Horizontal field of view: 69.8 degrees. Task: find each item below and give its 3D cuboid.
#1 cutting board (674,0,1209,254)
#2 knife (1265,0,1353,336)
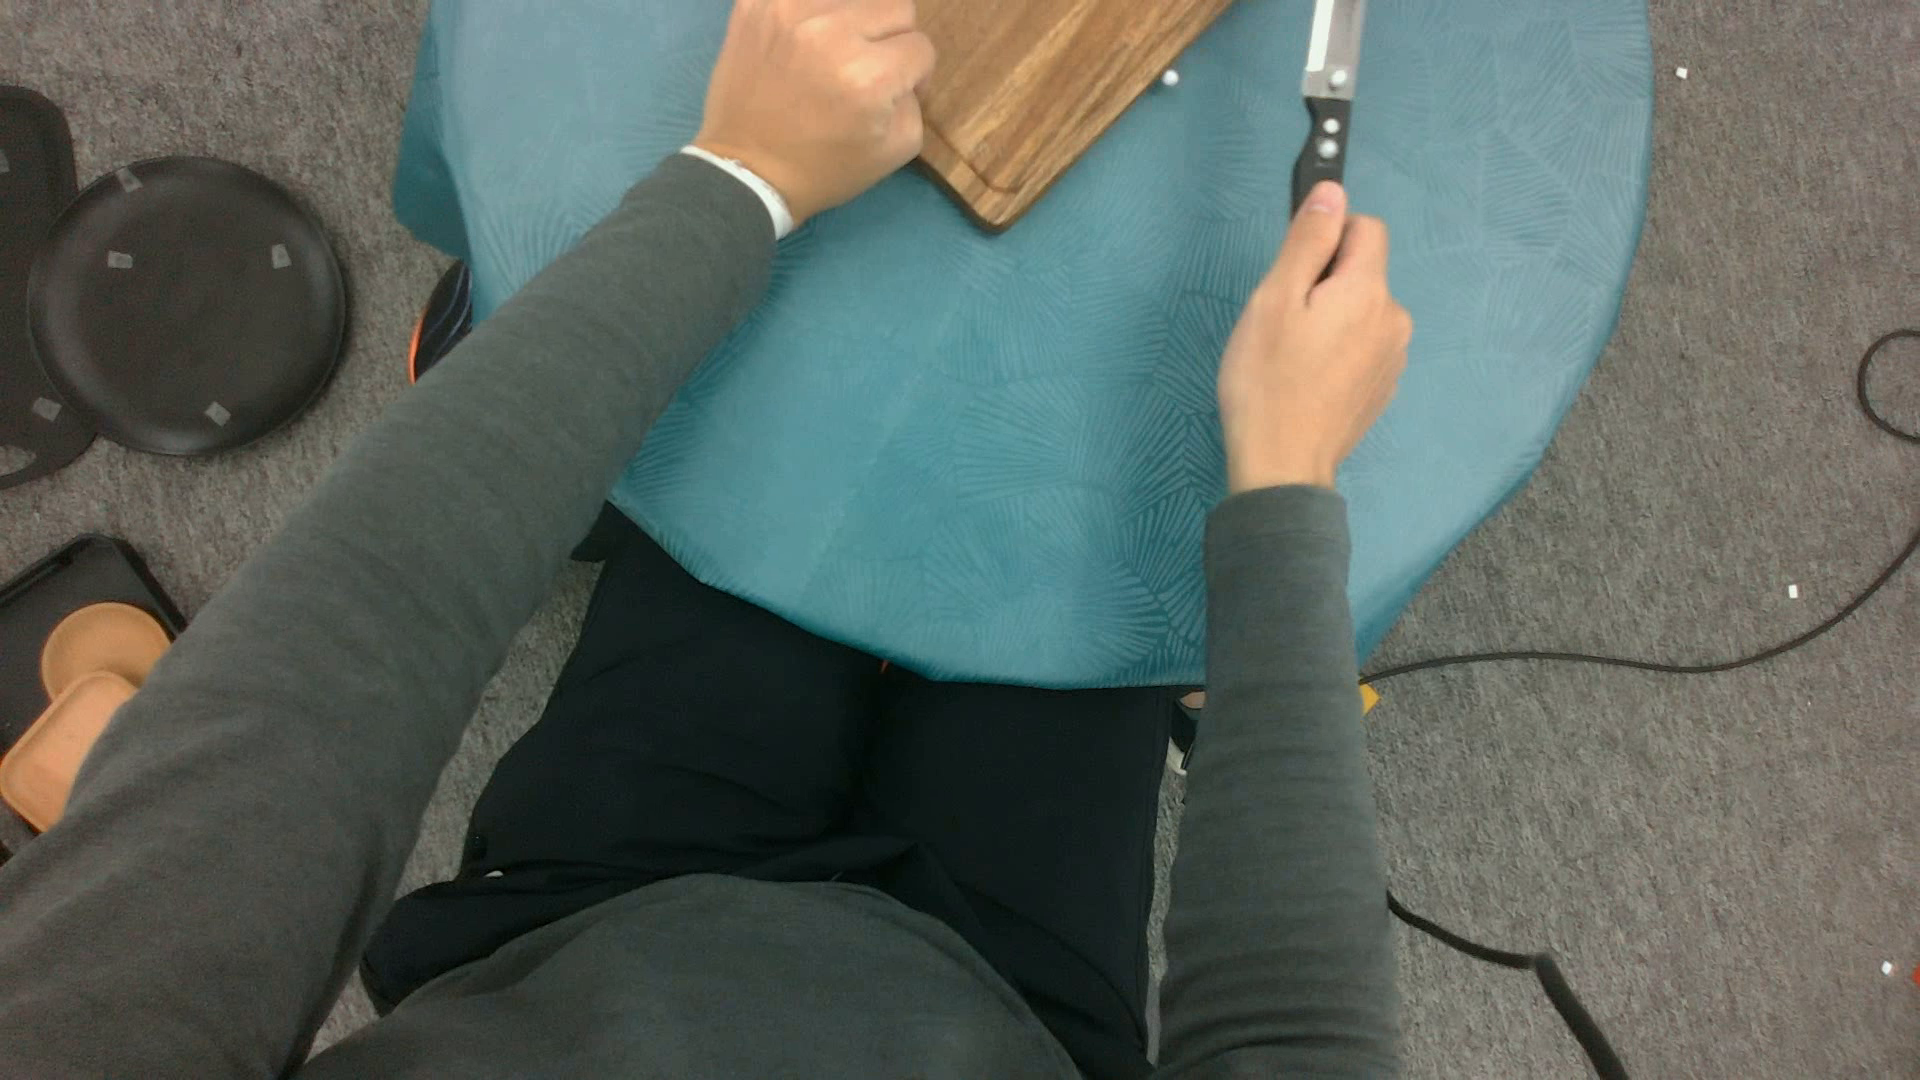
[{"bbox_3d":[-0.008,-0.269,0.654,0.201,0.023,0.352,43,84,-4],"label":"cutting board"},{"bbox_3d":[0.162,-0.208,0.618,0.024,0.016,0.238,8,88,1],"label":"knife"}]
